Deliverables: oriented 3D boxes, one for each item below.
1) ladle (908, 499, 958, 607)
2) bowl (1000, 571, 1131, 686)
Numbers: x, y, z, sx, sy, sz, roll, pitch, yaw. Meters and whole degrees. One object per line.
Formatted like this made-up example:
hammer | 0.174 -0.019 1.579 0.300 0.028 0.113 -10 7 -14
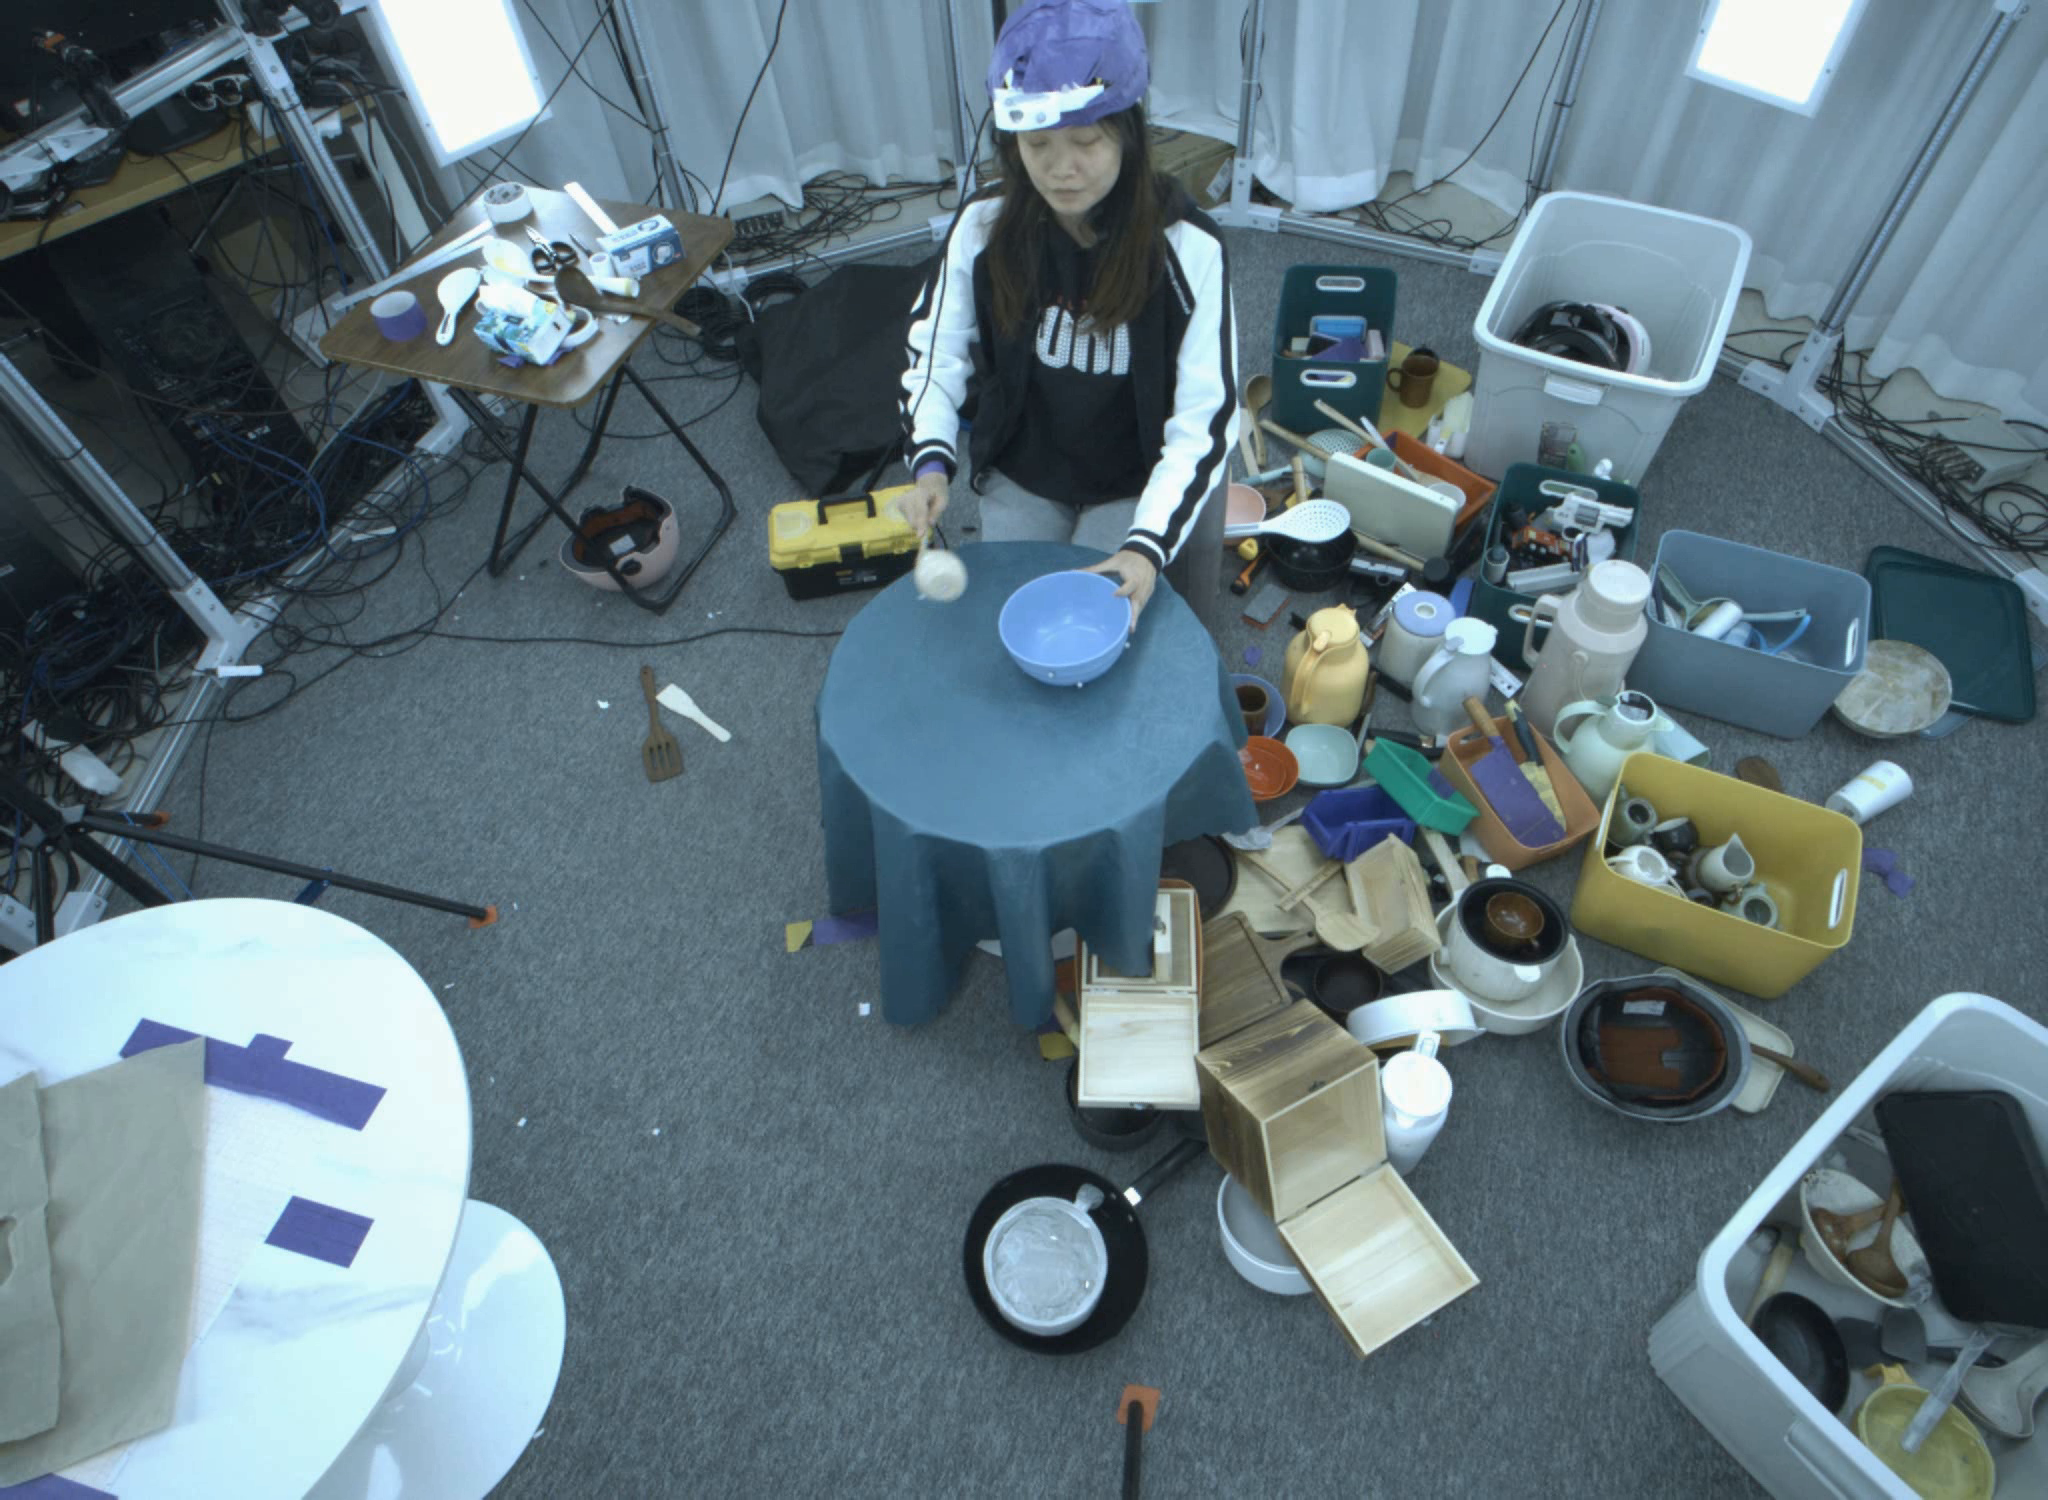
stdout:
ladle | -0.134 -0.297 1.818 0.074 0.071 0.251 33 29 -24
bowl | 0.067 -0.167 1.842 0.195 0.097 0.194 -5 52 7
